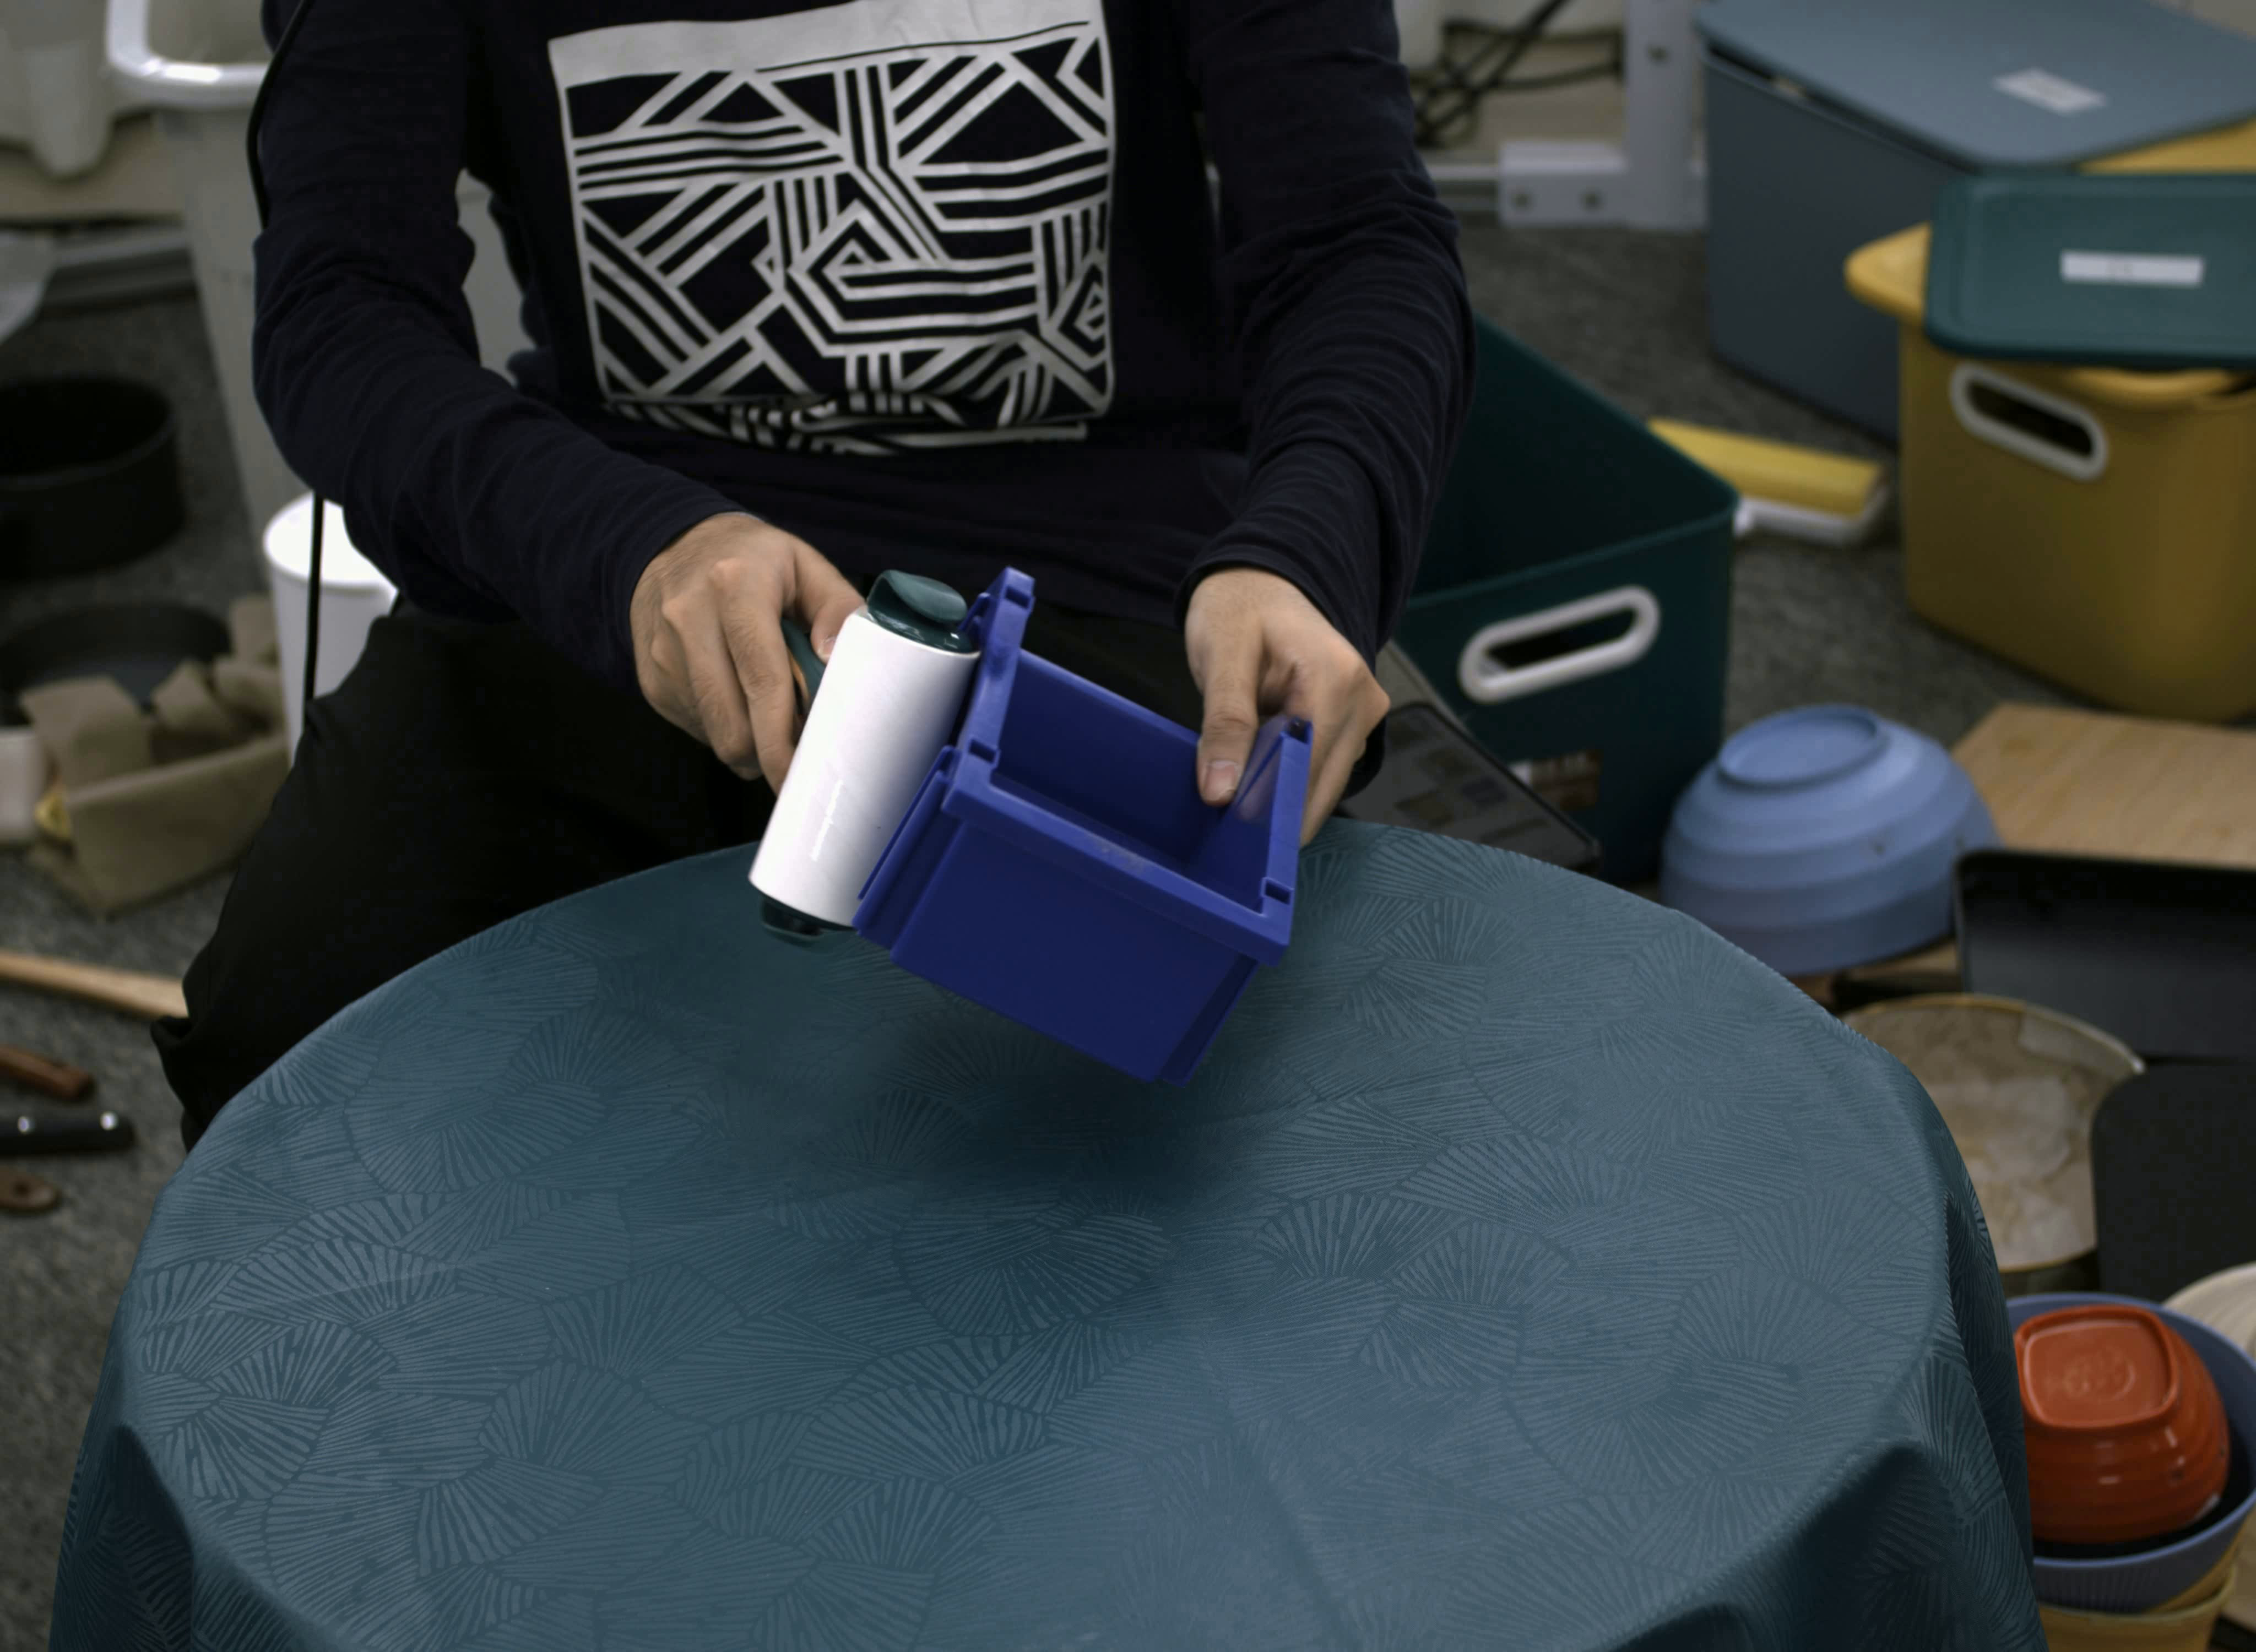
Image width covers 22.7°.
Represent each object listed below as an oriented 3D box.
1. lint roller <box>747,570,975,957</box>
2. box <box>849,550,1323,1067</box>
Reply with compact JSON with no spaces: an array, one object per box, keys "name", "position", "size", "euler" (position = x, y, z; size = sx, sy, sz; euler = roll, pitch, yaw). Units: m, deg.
[{"name":"lint roller","position":[-0.115,-0.041,1.941],"size":[0.048,0.134,0.181],"euler":[15,11,-29]},{"name":"box","position":[-0.012,-0.011,1.888],"size":[0.124,0.080,0.182],"euler":[26,32,-7]}]
